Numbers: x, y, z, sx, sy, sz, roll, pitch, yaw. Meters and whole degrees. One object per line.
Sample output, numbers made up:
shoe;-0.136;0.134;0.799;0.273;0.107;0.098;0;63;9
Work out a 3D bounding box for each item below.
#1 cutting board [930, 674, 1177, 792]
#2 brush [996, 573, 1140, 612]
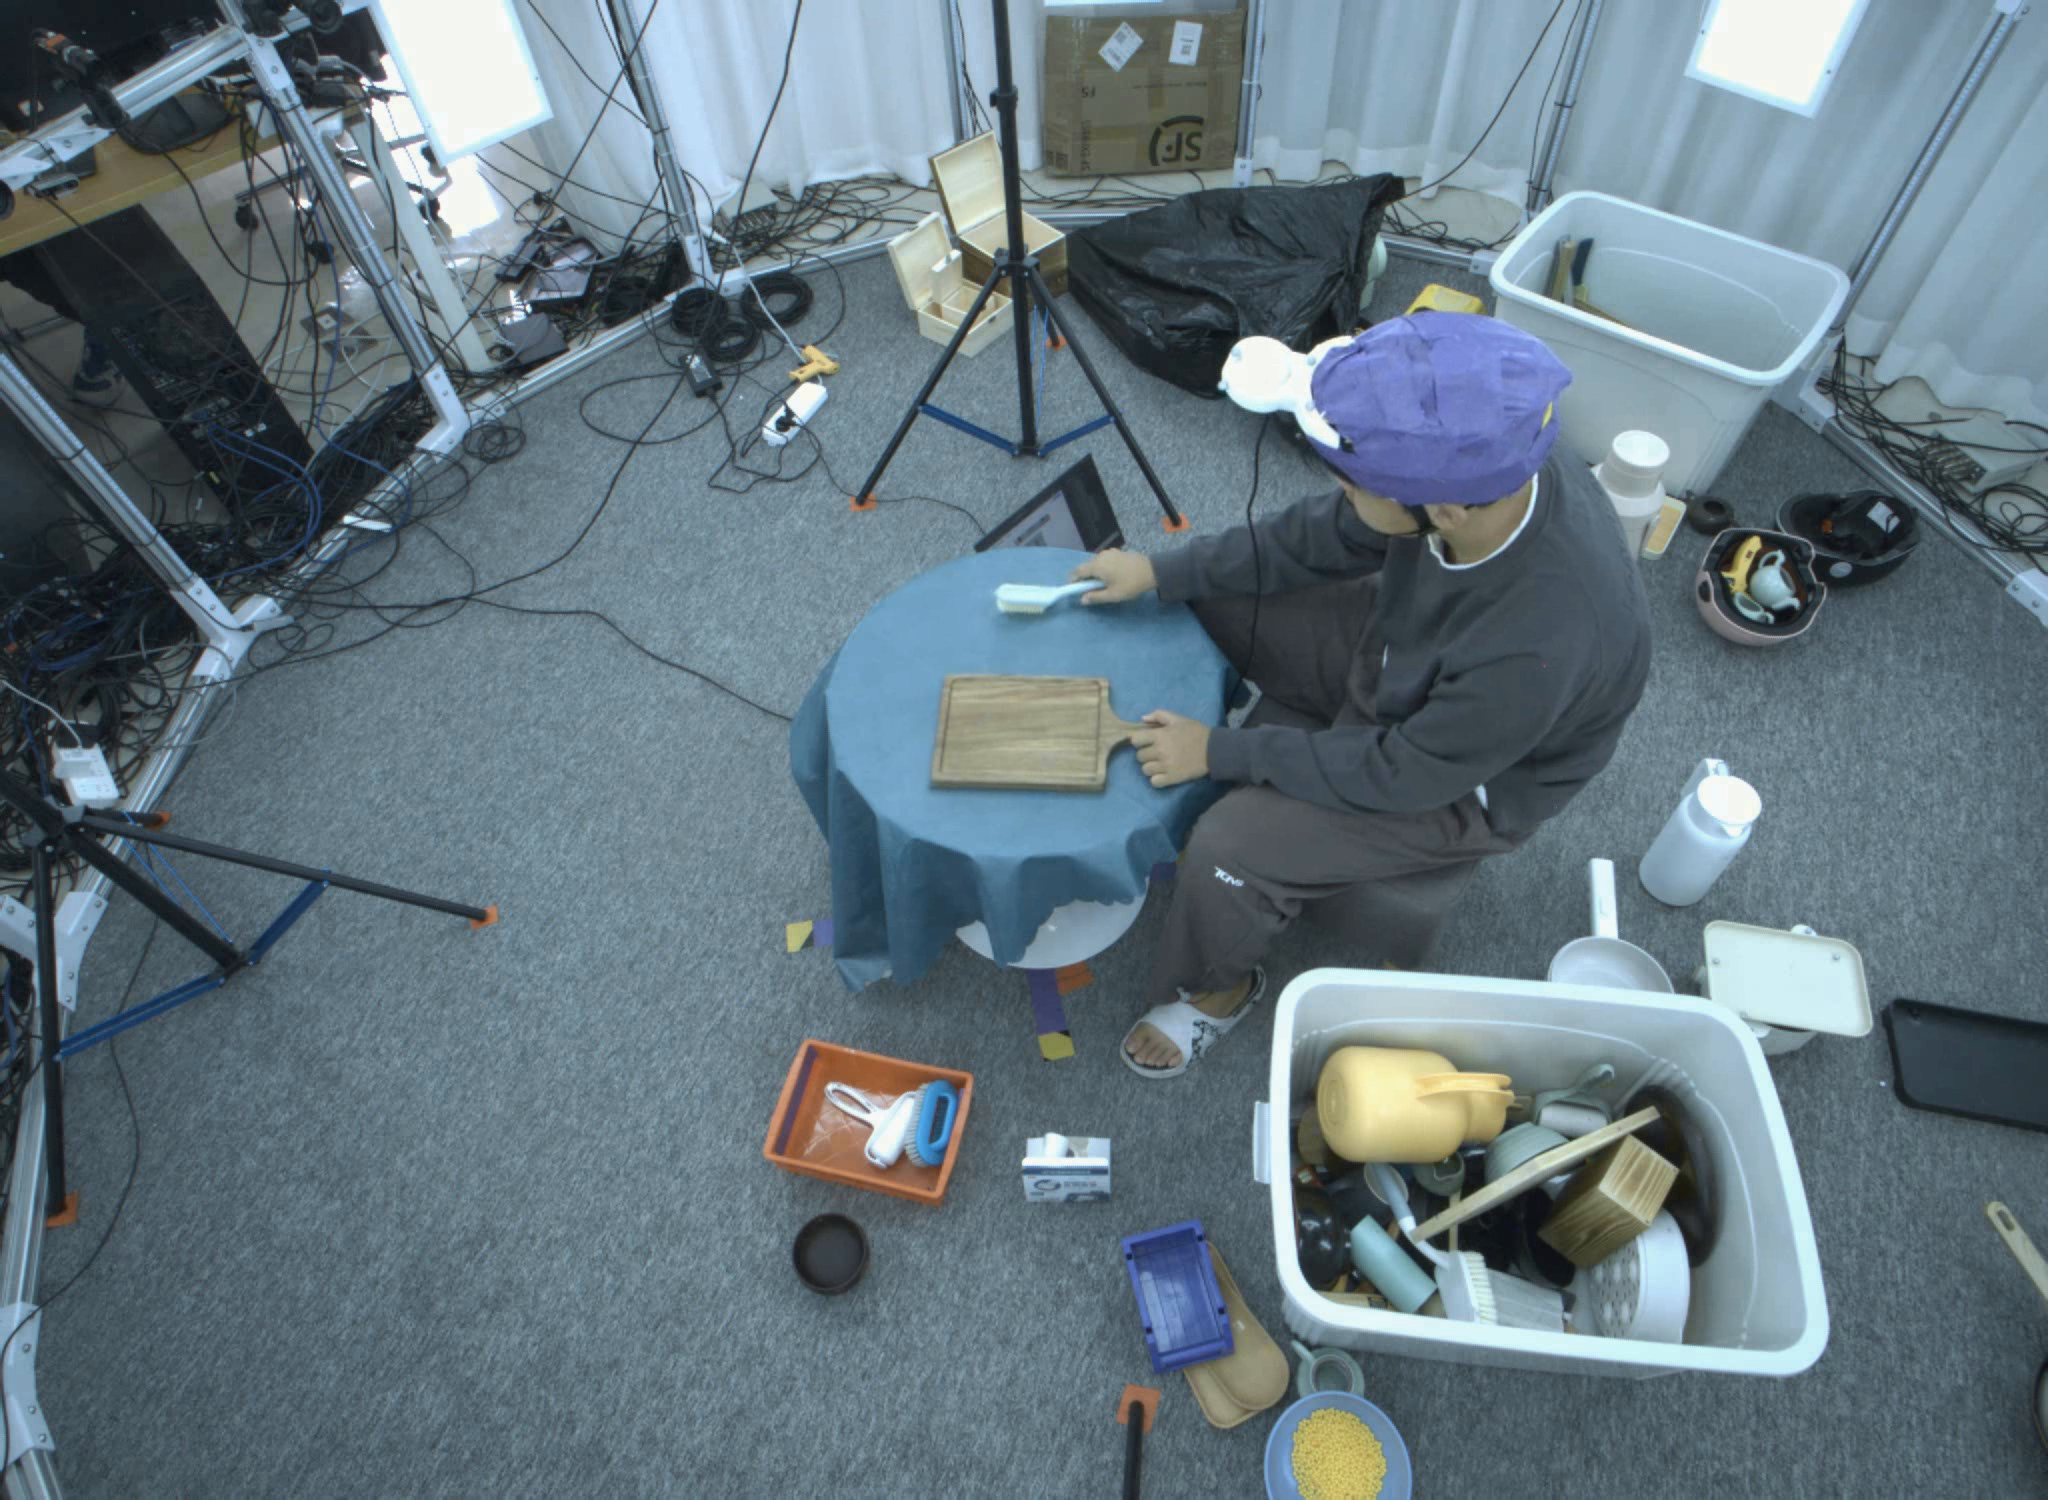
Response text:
cutting board;0.046;-0.026;1.793;0.351;0.023;0.199;2;55;3
brush;0.069;-0.249;1.934;0.230;0.050;0.037;-9;55;-7
